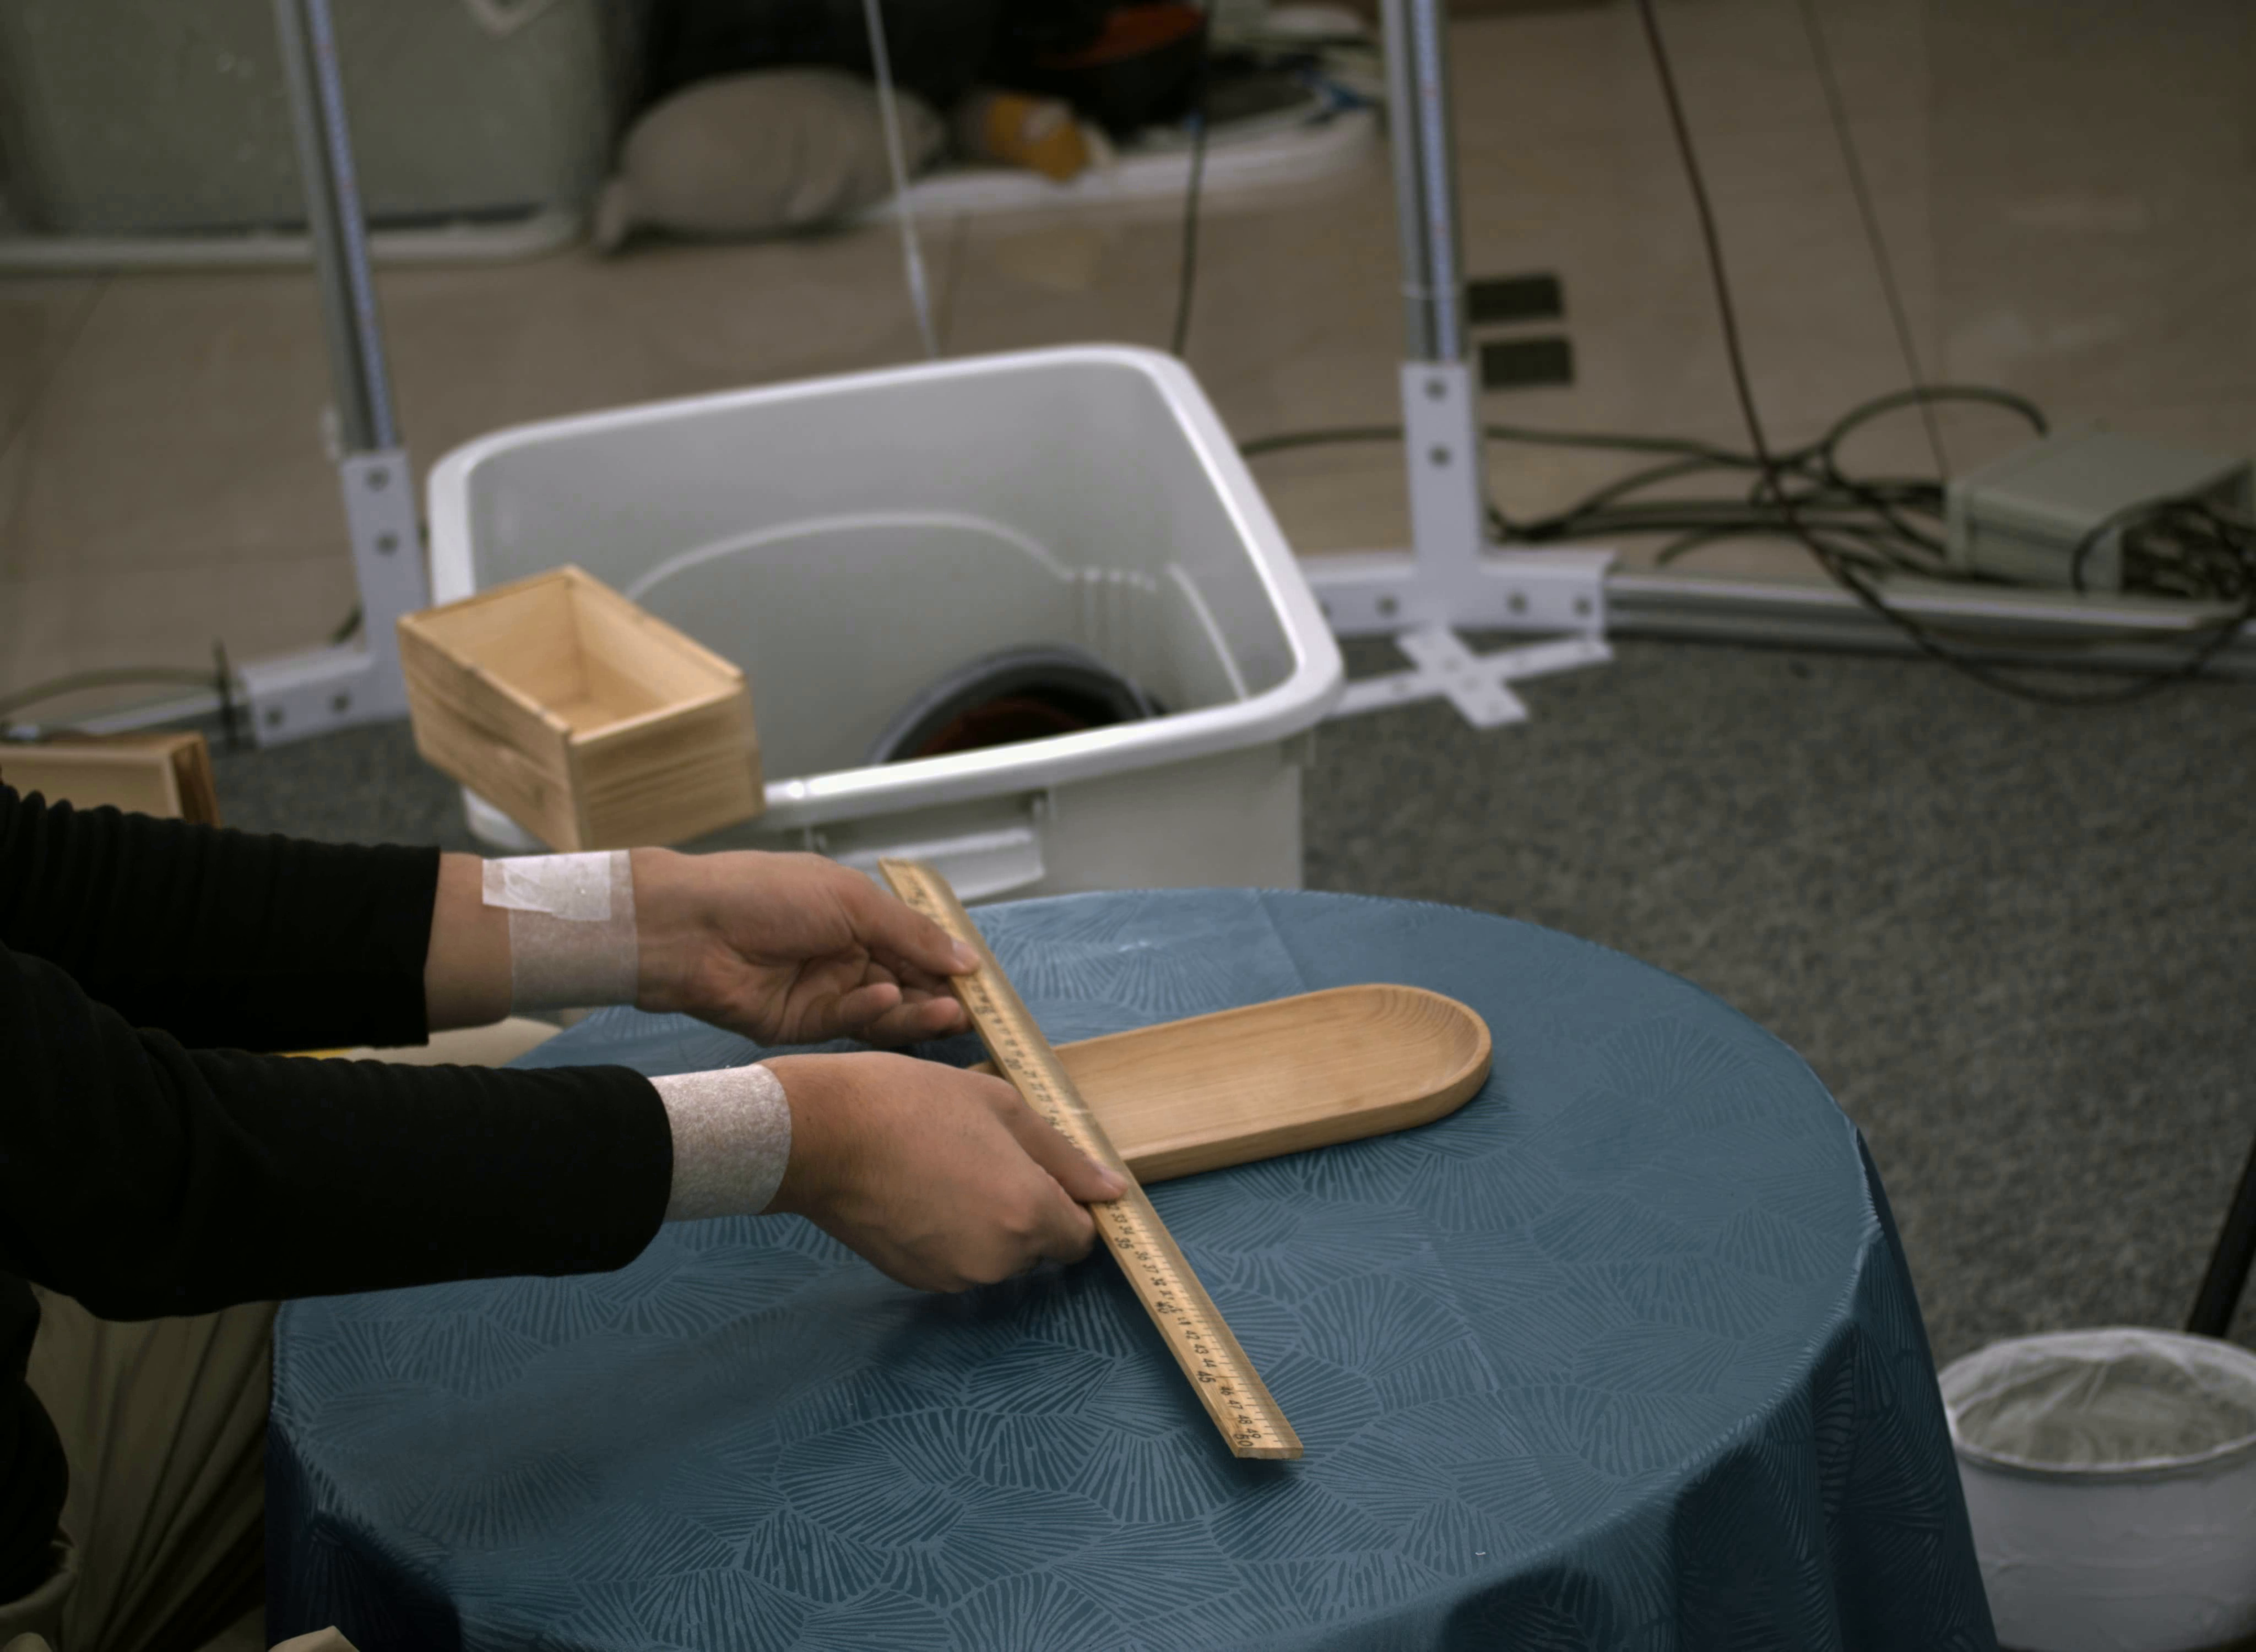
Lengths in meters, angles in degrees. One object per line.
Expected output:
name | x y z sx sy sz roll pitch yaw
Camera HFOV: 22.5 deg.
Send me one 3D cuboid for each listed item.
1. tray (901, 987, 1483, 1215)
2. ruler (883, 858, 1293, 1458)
tray | 0.026 0.106 2.192 0.230 0.020 0.100 -14 26 -11
ruler | -0.024 0.115 2.156 0.027 0.006 0.493 3 23 -19
